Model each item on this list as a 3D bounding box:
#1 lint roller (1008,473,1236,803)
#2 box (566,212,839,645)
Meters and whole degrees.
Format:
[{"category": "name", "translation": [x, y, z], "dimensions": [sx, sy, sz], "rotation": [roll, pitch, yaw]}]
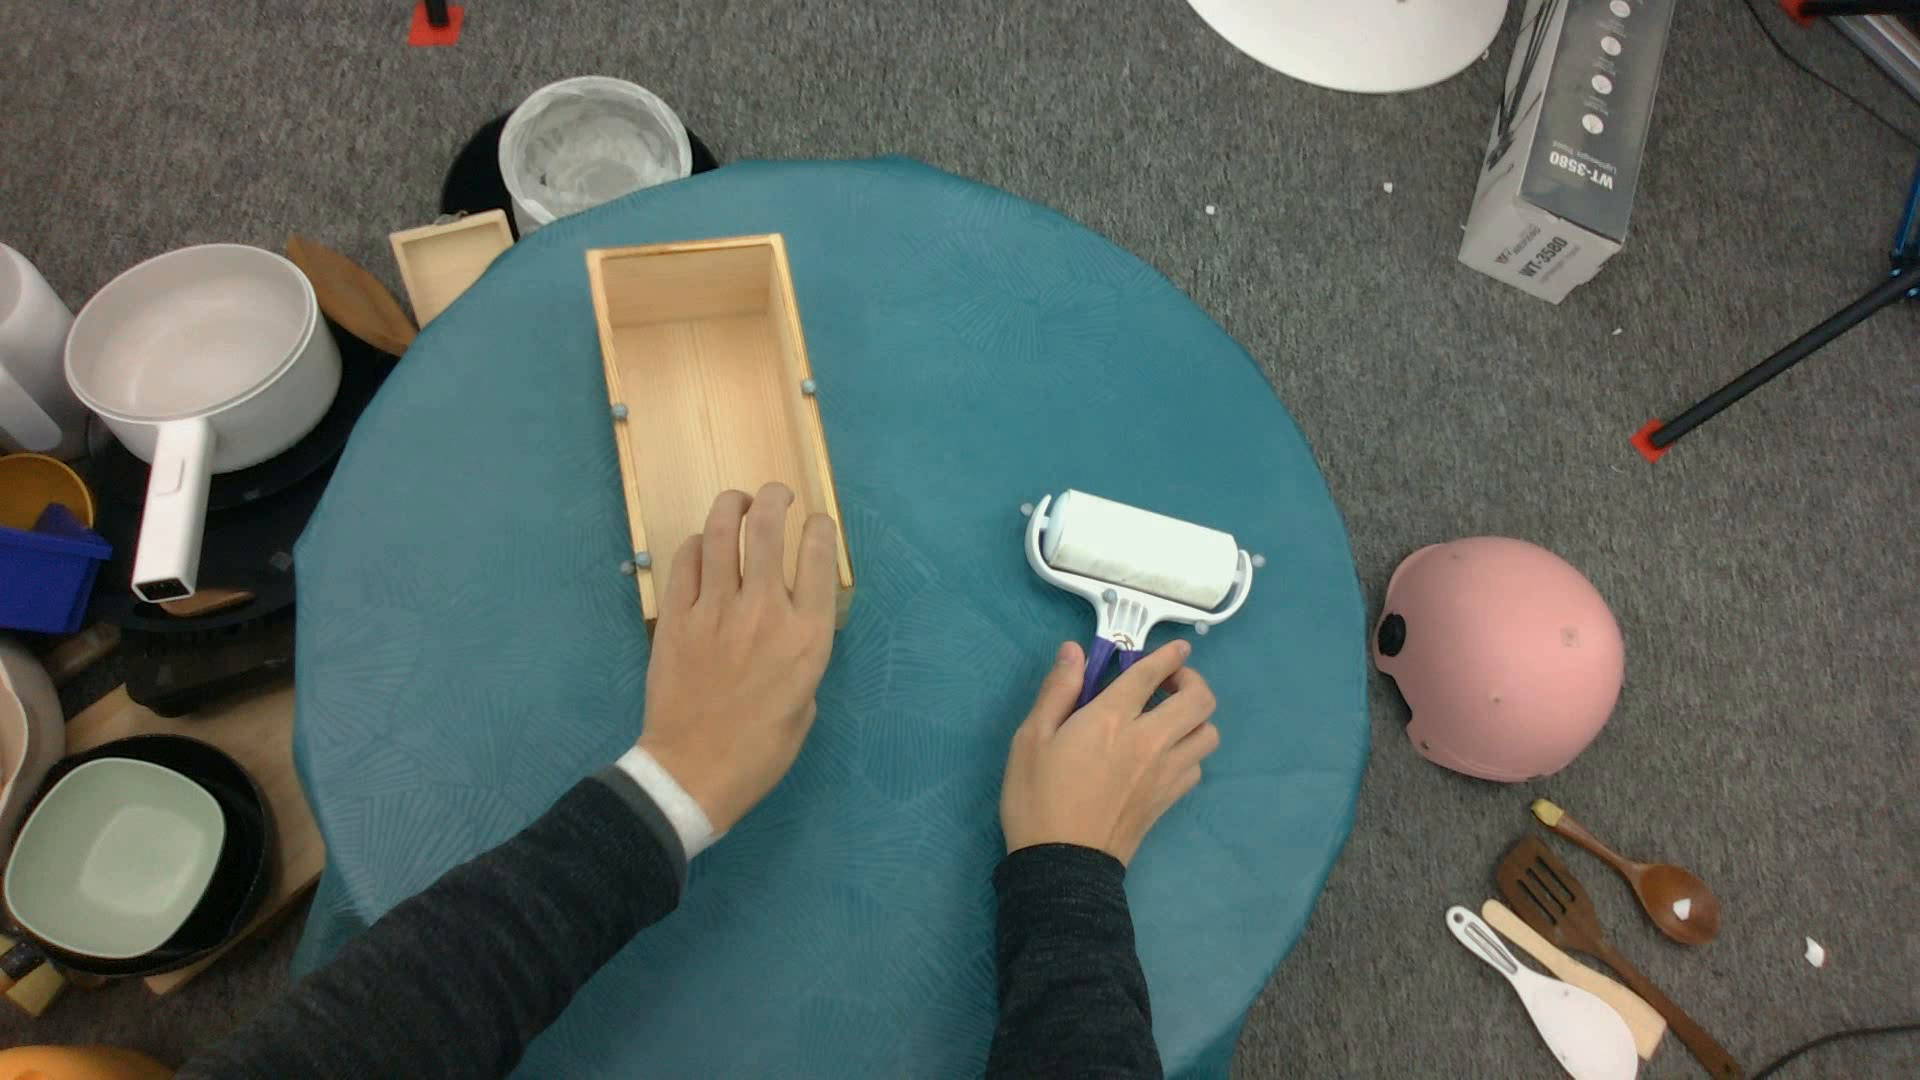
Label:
[{"category": "lint roller", "translation": [0.079, 0.055, 0.767], "dimensions": [0.133, 0.050, 0.181], "rotation": [17, 65, -6]}, {"category": "box", "translation": [-0.142, -0.062, 0.747], "dimensions": [0.108, 0.080, 0.212], "rotation": [-10, 73, -15]}]
